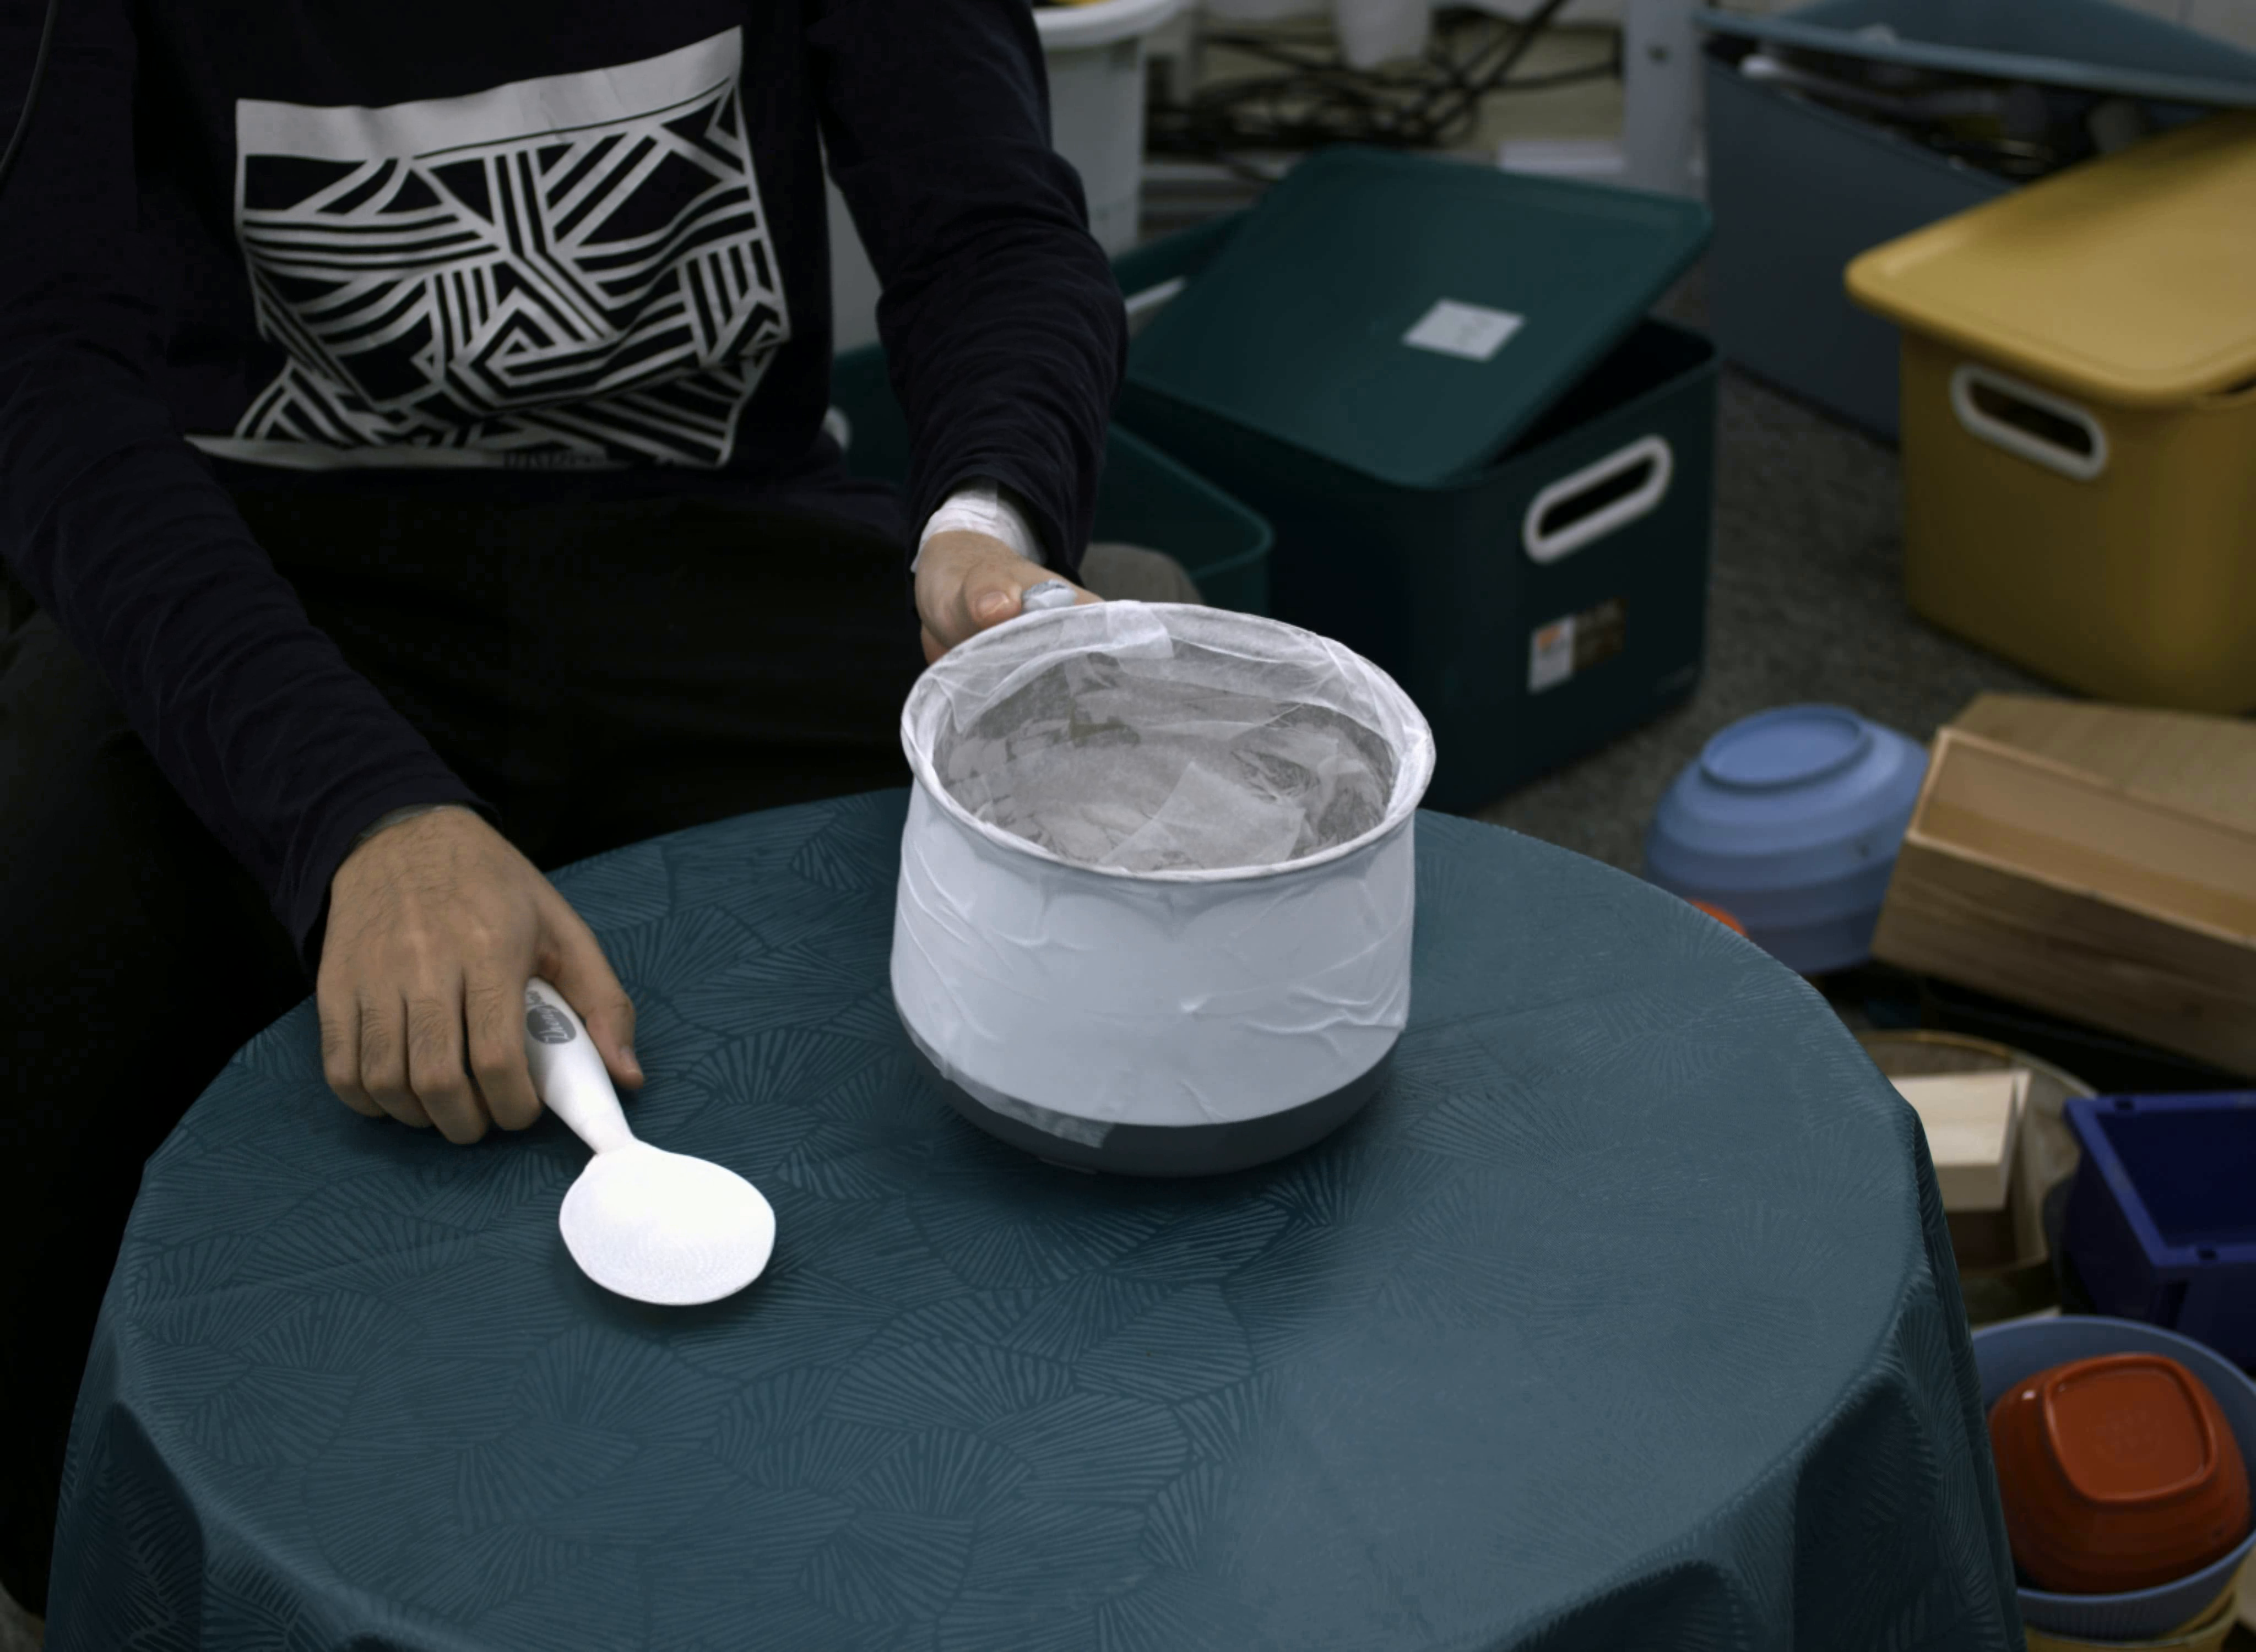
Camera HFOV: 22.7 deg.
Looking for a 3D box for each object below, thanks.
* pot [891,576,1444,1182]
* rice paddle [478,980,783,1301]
[{"bbox_3d":[-0.001,0.010,1.905,0.179,0.135,0.236,-9,34,-25],"label":"pot"},{"bbox_3d":[-0.171,0.107,1.875,0.069,0.029,0.206,-15,29,-19],"label":"rice paddle"}]
